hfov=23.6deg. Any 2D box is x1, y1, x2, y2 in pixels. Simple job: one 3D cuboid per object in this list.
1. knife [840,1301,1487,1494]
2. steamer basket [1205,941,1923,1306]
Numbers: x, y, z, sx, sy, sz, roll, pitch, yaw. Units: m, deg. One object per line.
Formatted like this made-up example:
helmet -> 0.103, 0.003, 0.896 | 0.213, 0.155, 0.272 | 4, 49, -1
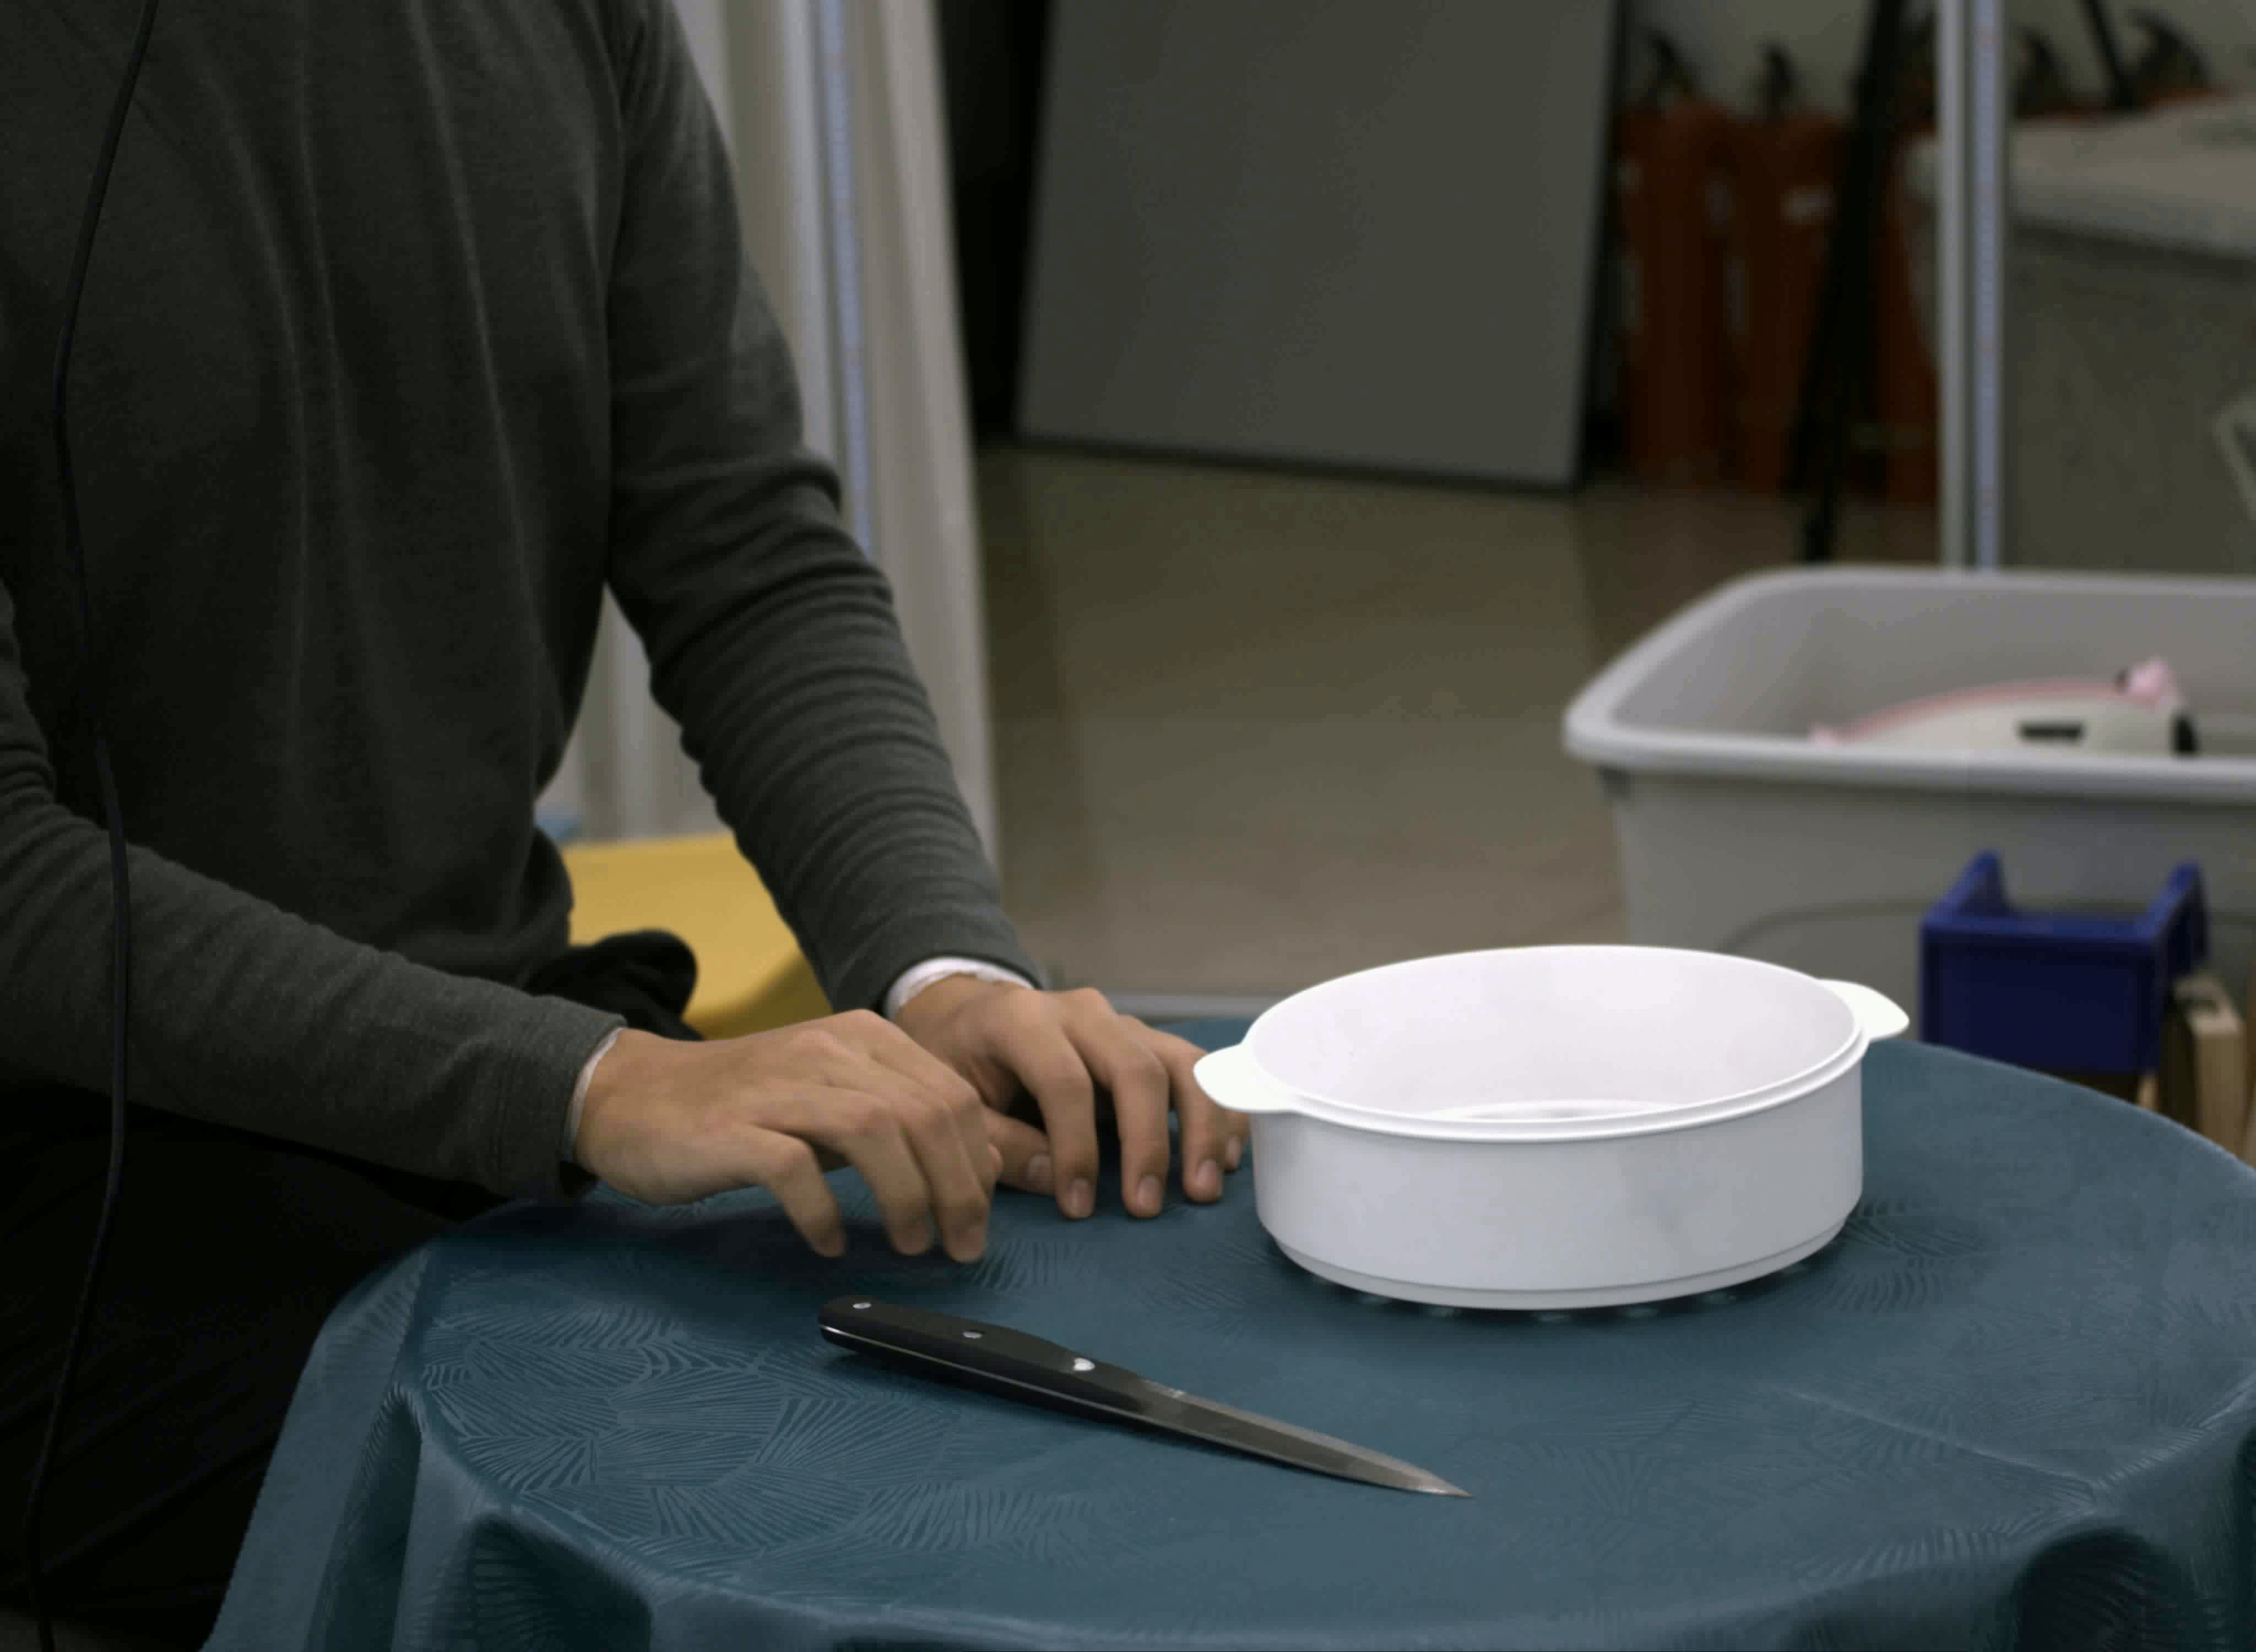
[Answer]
knife -> 0.005, 0.167, 1.558 | 0.240, 0.016, 0.024 | 10, 21, 38
steamer basket -> 0.140, 0.094, 1.700 | 0.226, 0.070, 0.203 | -7, 13, -9
